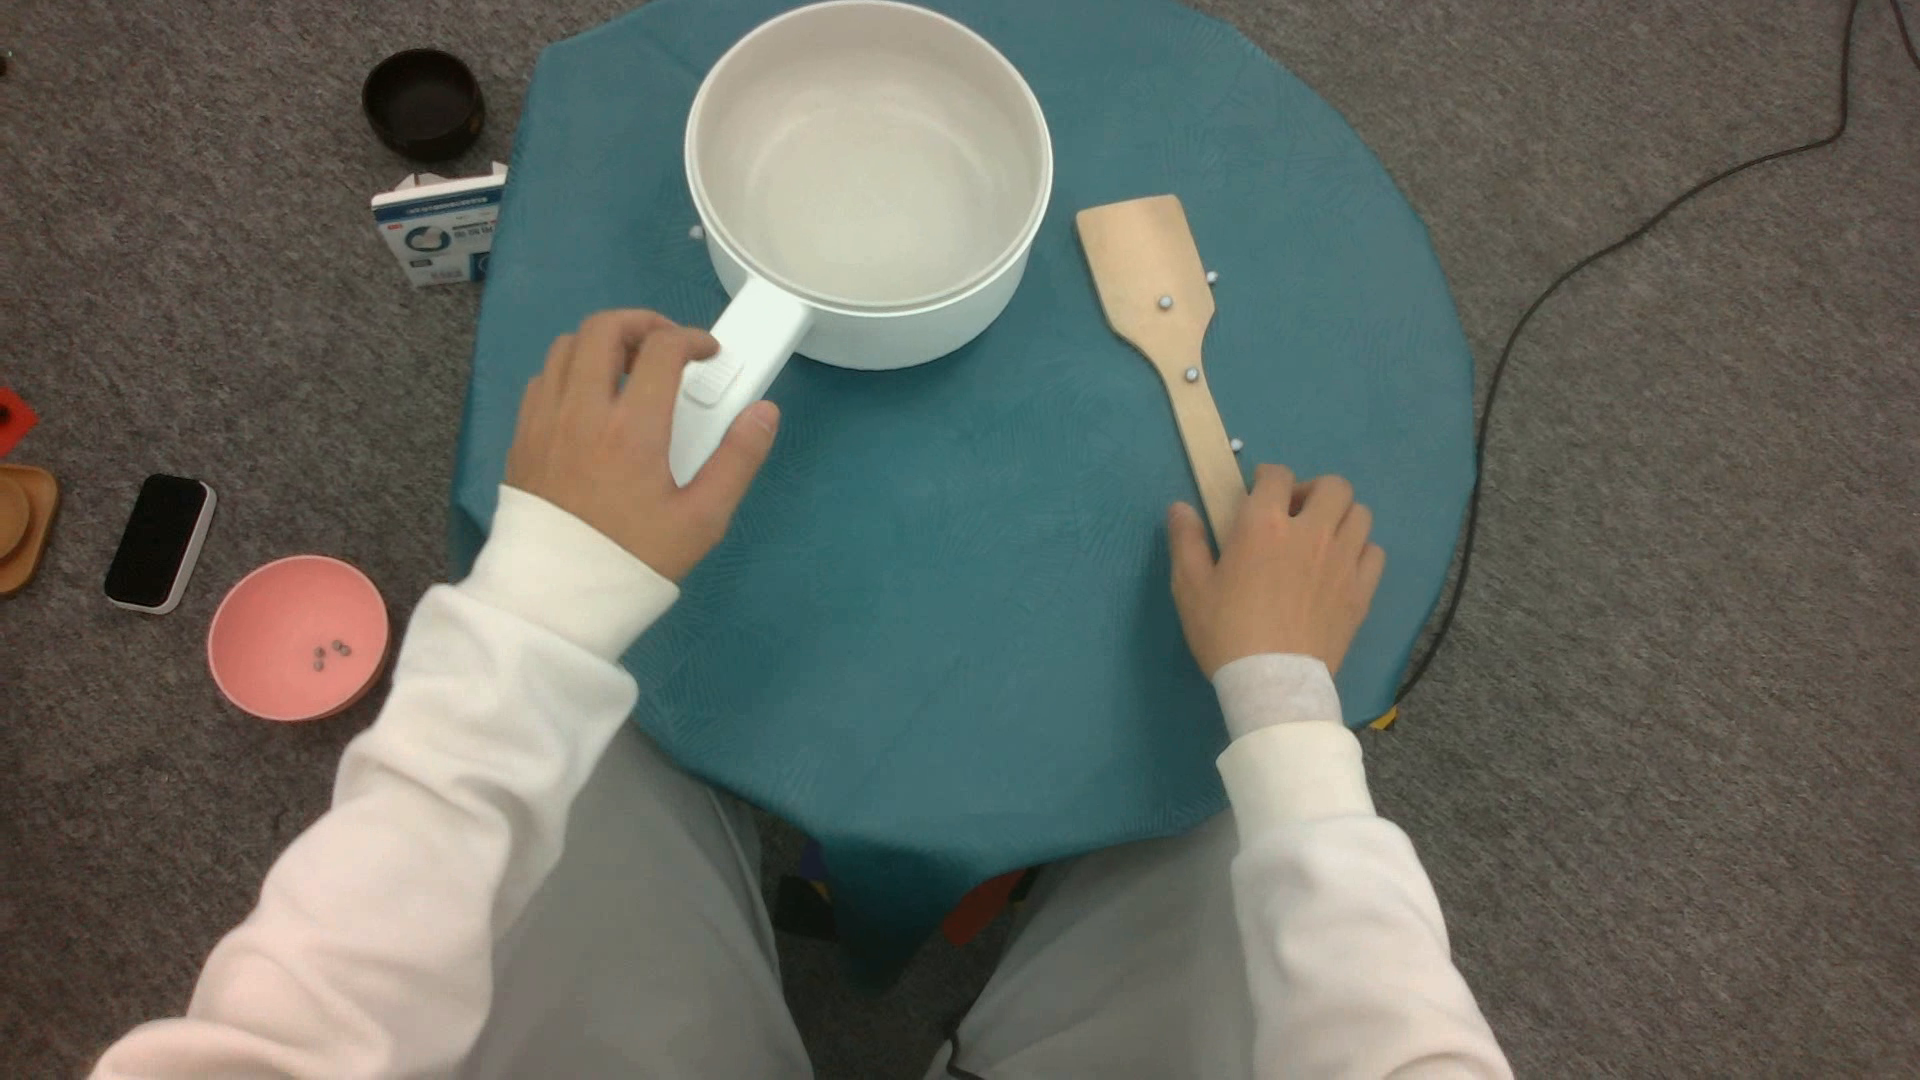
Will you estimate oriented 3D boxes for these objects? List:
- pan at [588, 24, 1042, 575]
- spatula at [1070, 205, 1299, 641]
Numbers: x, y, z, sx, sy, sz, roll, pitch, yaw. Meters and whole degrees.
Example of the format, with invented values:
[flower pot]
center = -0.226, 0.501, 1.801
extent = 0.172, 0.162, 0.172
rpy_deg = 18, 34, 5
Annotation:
[pan]
center = -0.091, -0.128, 0.789
extent = 0.201, 0.102, 0.356
rpy_deg = 27, 71, 5
[spatula]
center = 0.143, -0.076, 0.834
extent = 0.072, 0.010, 0.293
rpy_deg = -14, 71, -11
